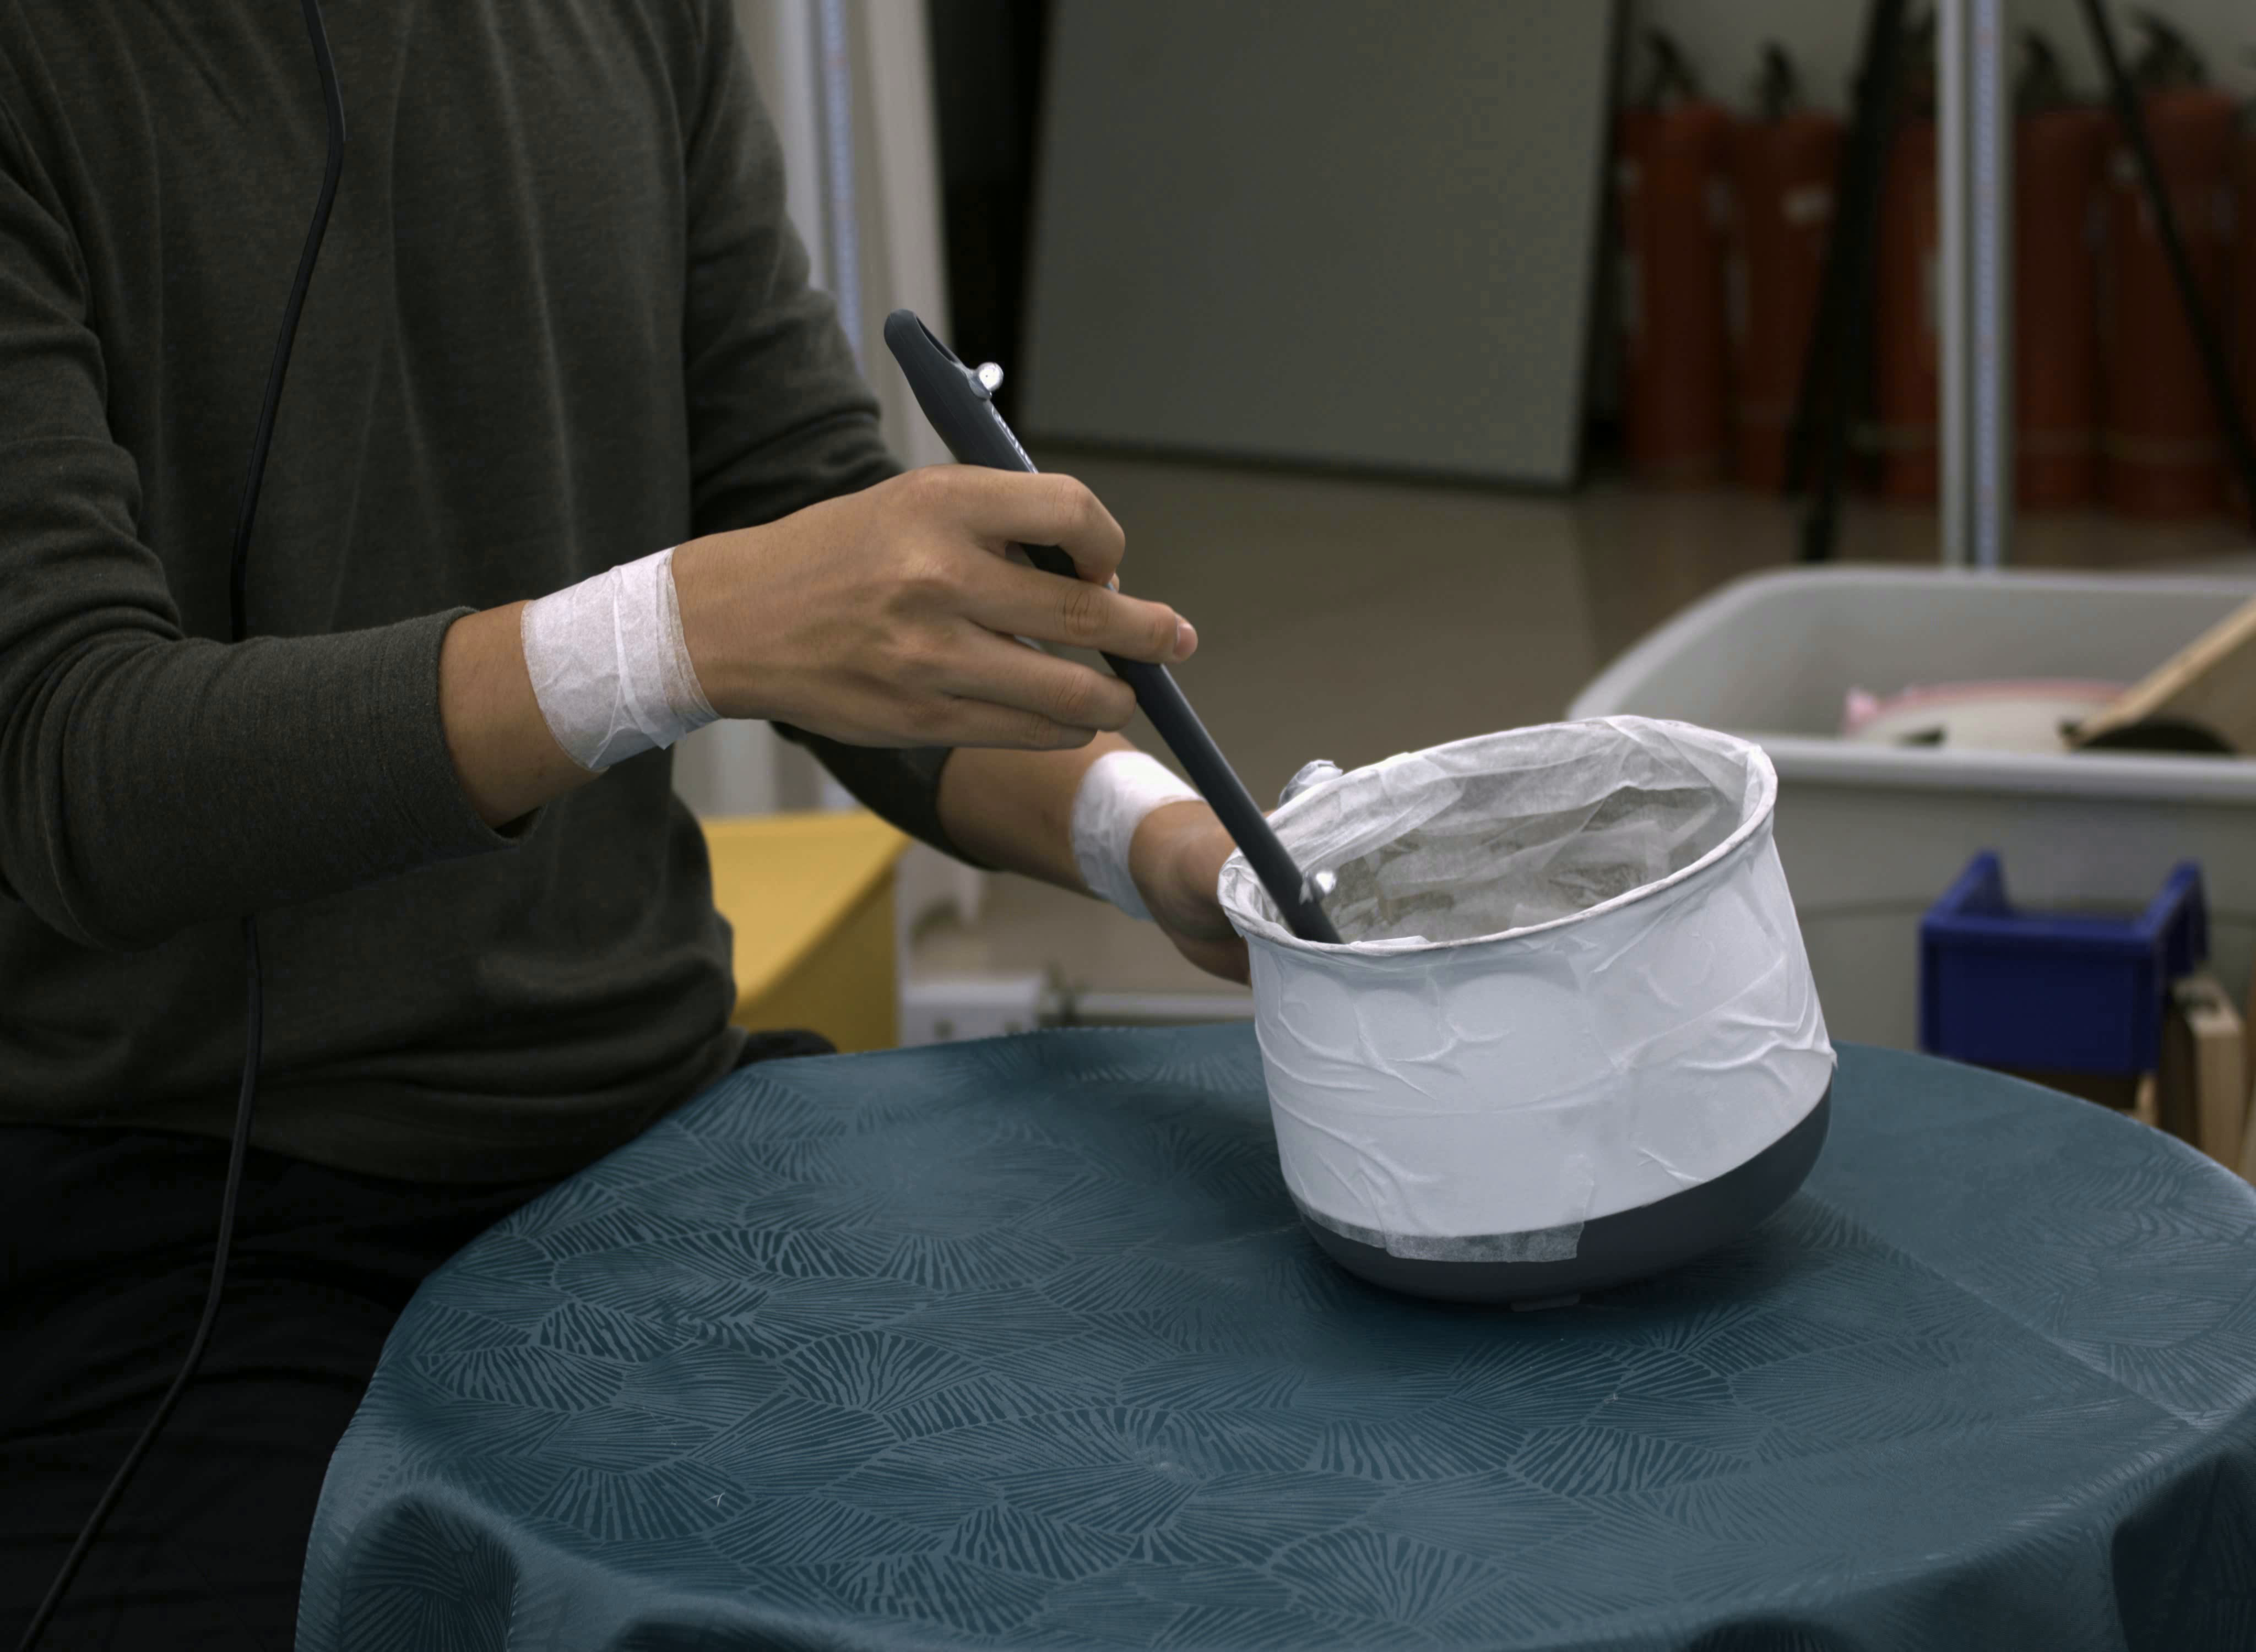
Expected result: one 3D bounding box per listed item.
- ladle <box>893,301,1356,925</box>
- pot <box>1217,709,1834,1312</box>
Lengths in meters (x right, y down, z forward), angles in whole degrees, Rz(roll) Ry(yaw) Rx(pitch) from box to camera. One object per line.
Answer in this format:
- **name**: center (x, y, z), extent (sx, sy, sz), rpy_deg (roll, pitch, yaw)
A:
- **ladle**: center (0.040, -0.043, 1.616), extent (0.064, 0.313, 0.086), rpy_deg (-35, 17, 5)
- **pot**: center (0.111, 0.053, 1.693), extent (0.175, 0.137, 0.236), rpy_deg (-24, 21, -27)
